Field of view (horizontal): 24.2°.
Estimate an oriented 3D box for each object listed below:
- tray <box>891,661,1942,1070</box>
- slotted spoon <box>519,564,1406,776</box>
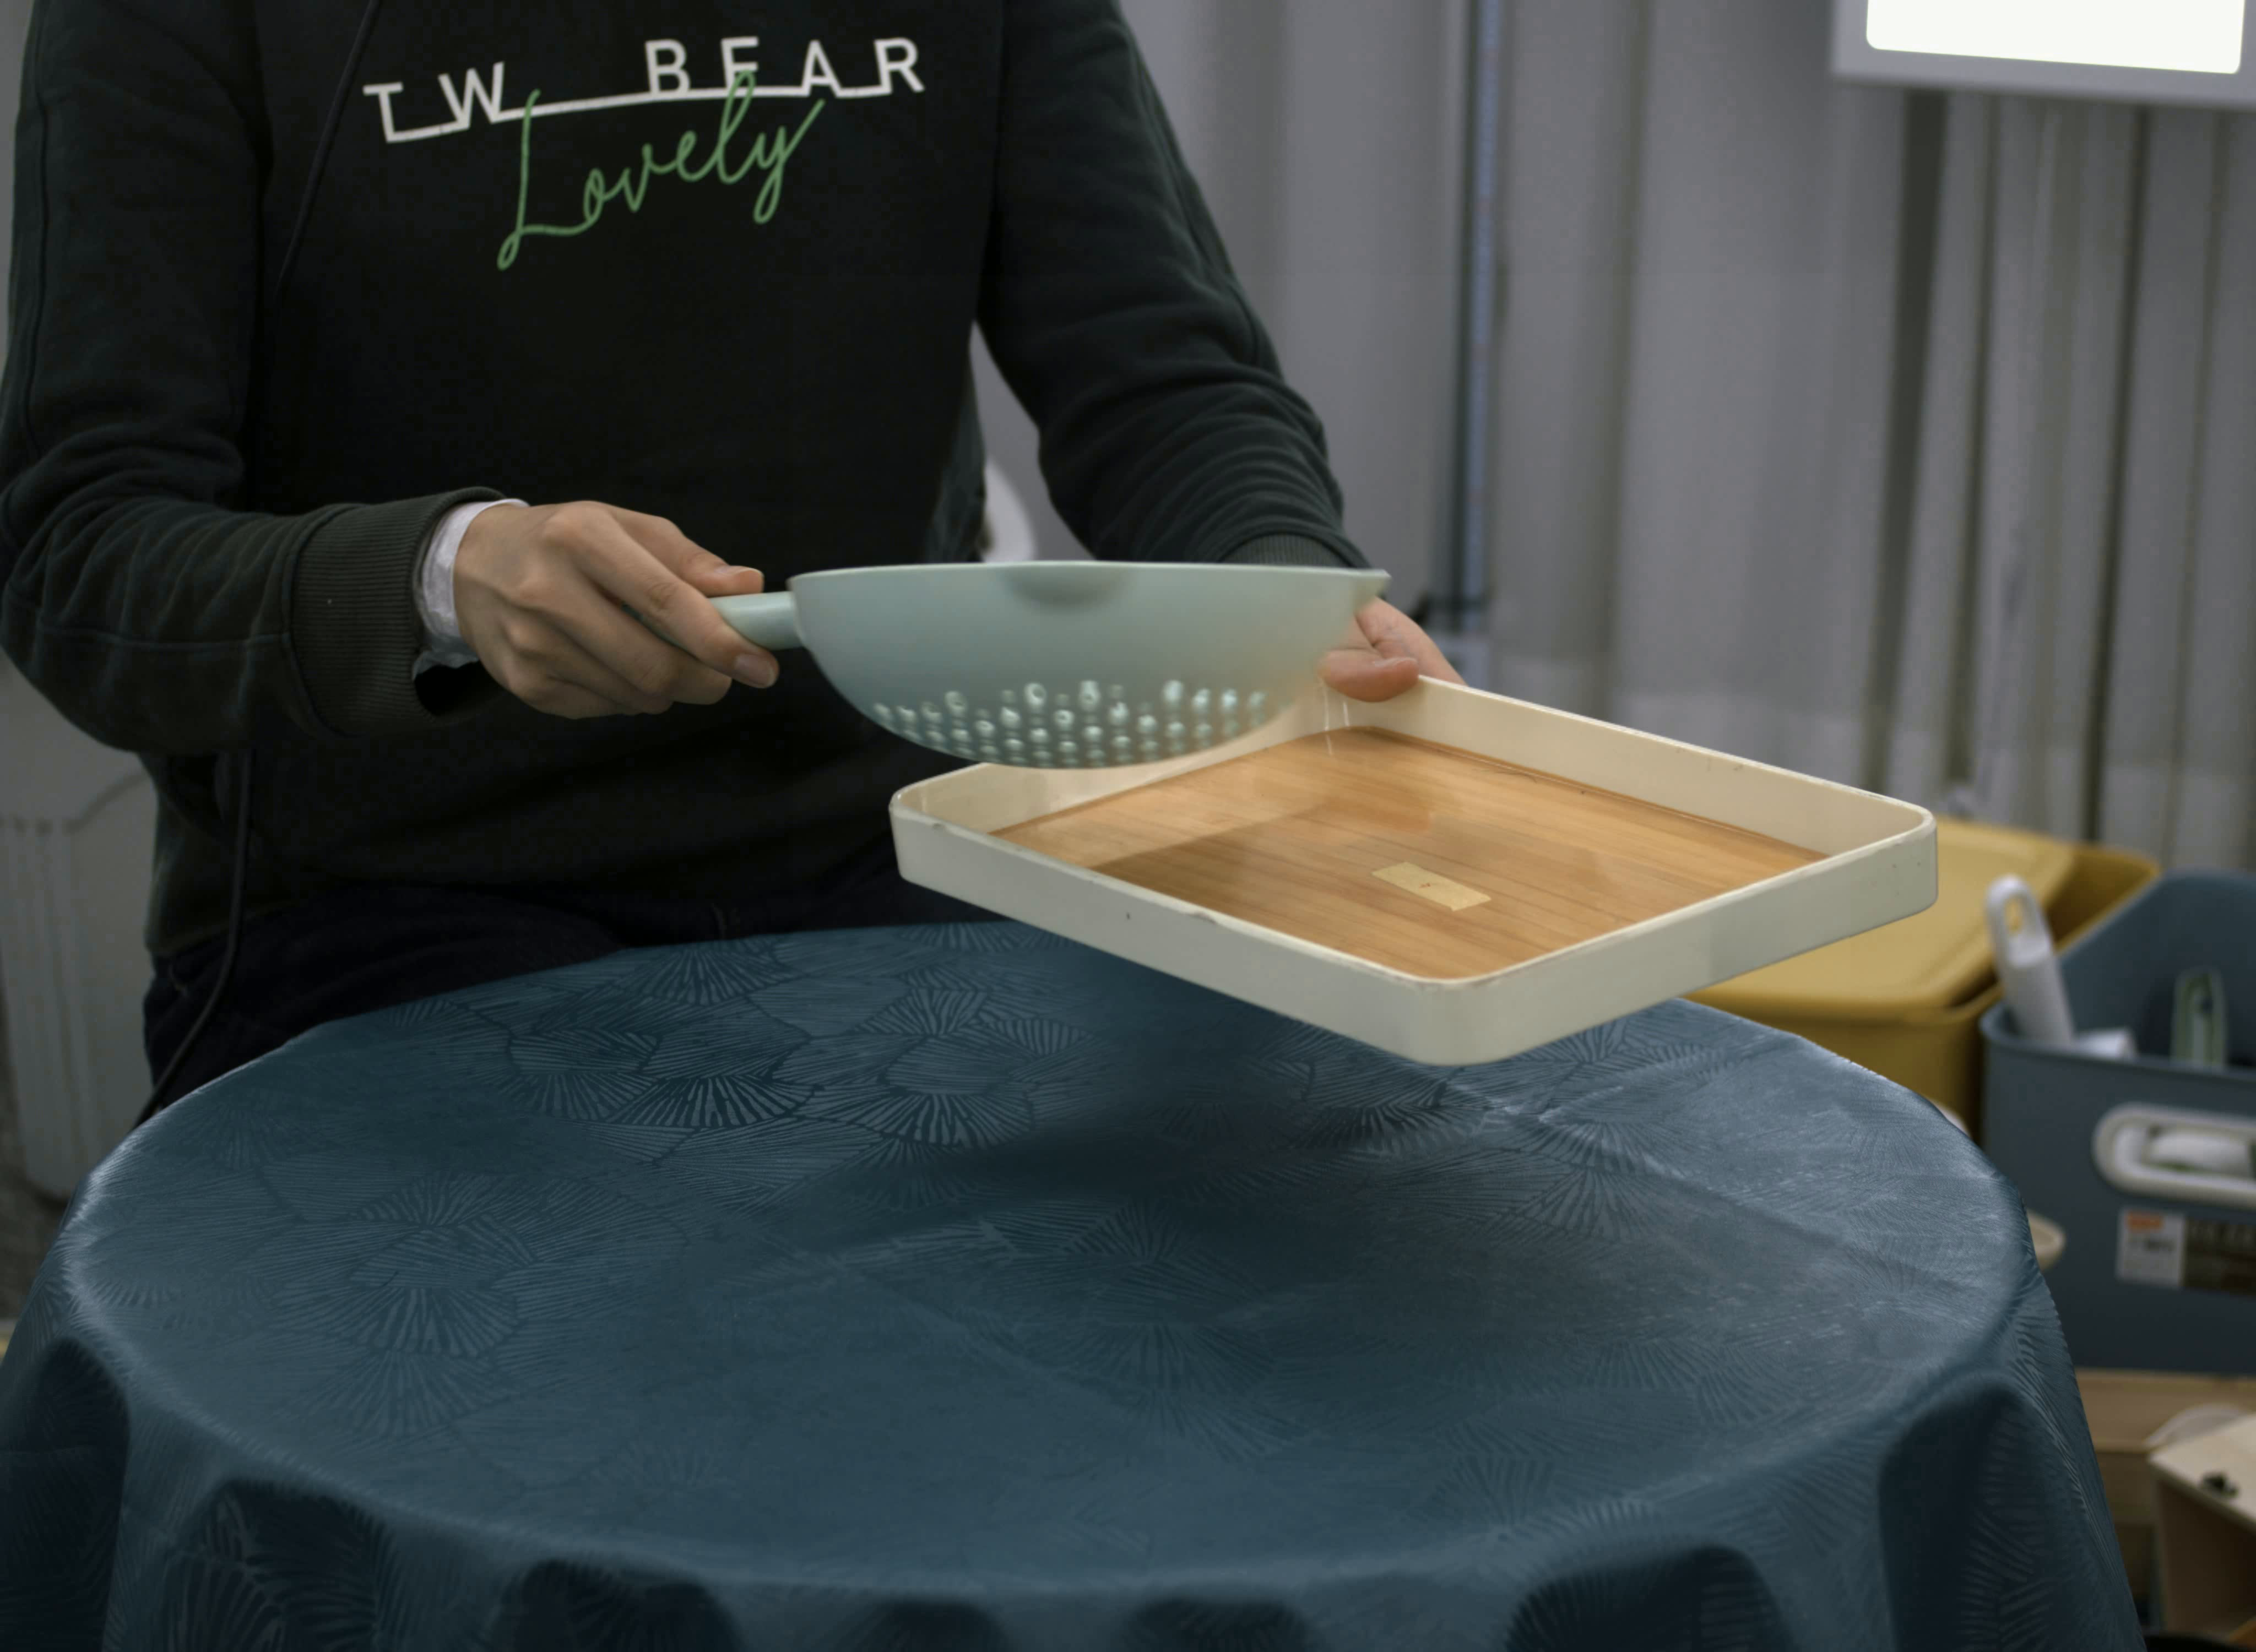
[{"bbox_3d":[0.081,0.007,1.587,0.192,0.027,0.296,-17,21,-31],"label":"tray"},{"bbox_3d":[-0.077,-0.061,1.629,0.171,0.076,0.354,2,7,-43],"label":"slotted spoon"}]
